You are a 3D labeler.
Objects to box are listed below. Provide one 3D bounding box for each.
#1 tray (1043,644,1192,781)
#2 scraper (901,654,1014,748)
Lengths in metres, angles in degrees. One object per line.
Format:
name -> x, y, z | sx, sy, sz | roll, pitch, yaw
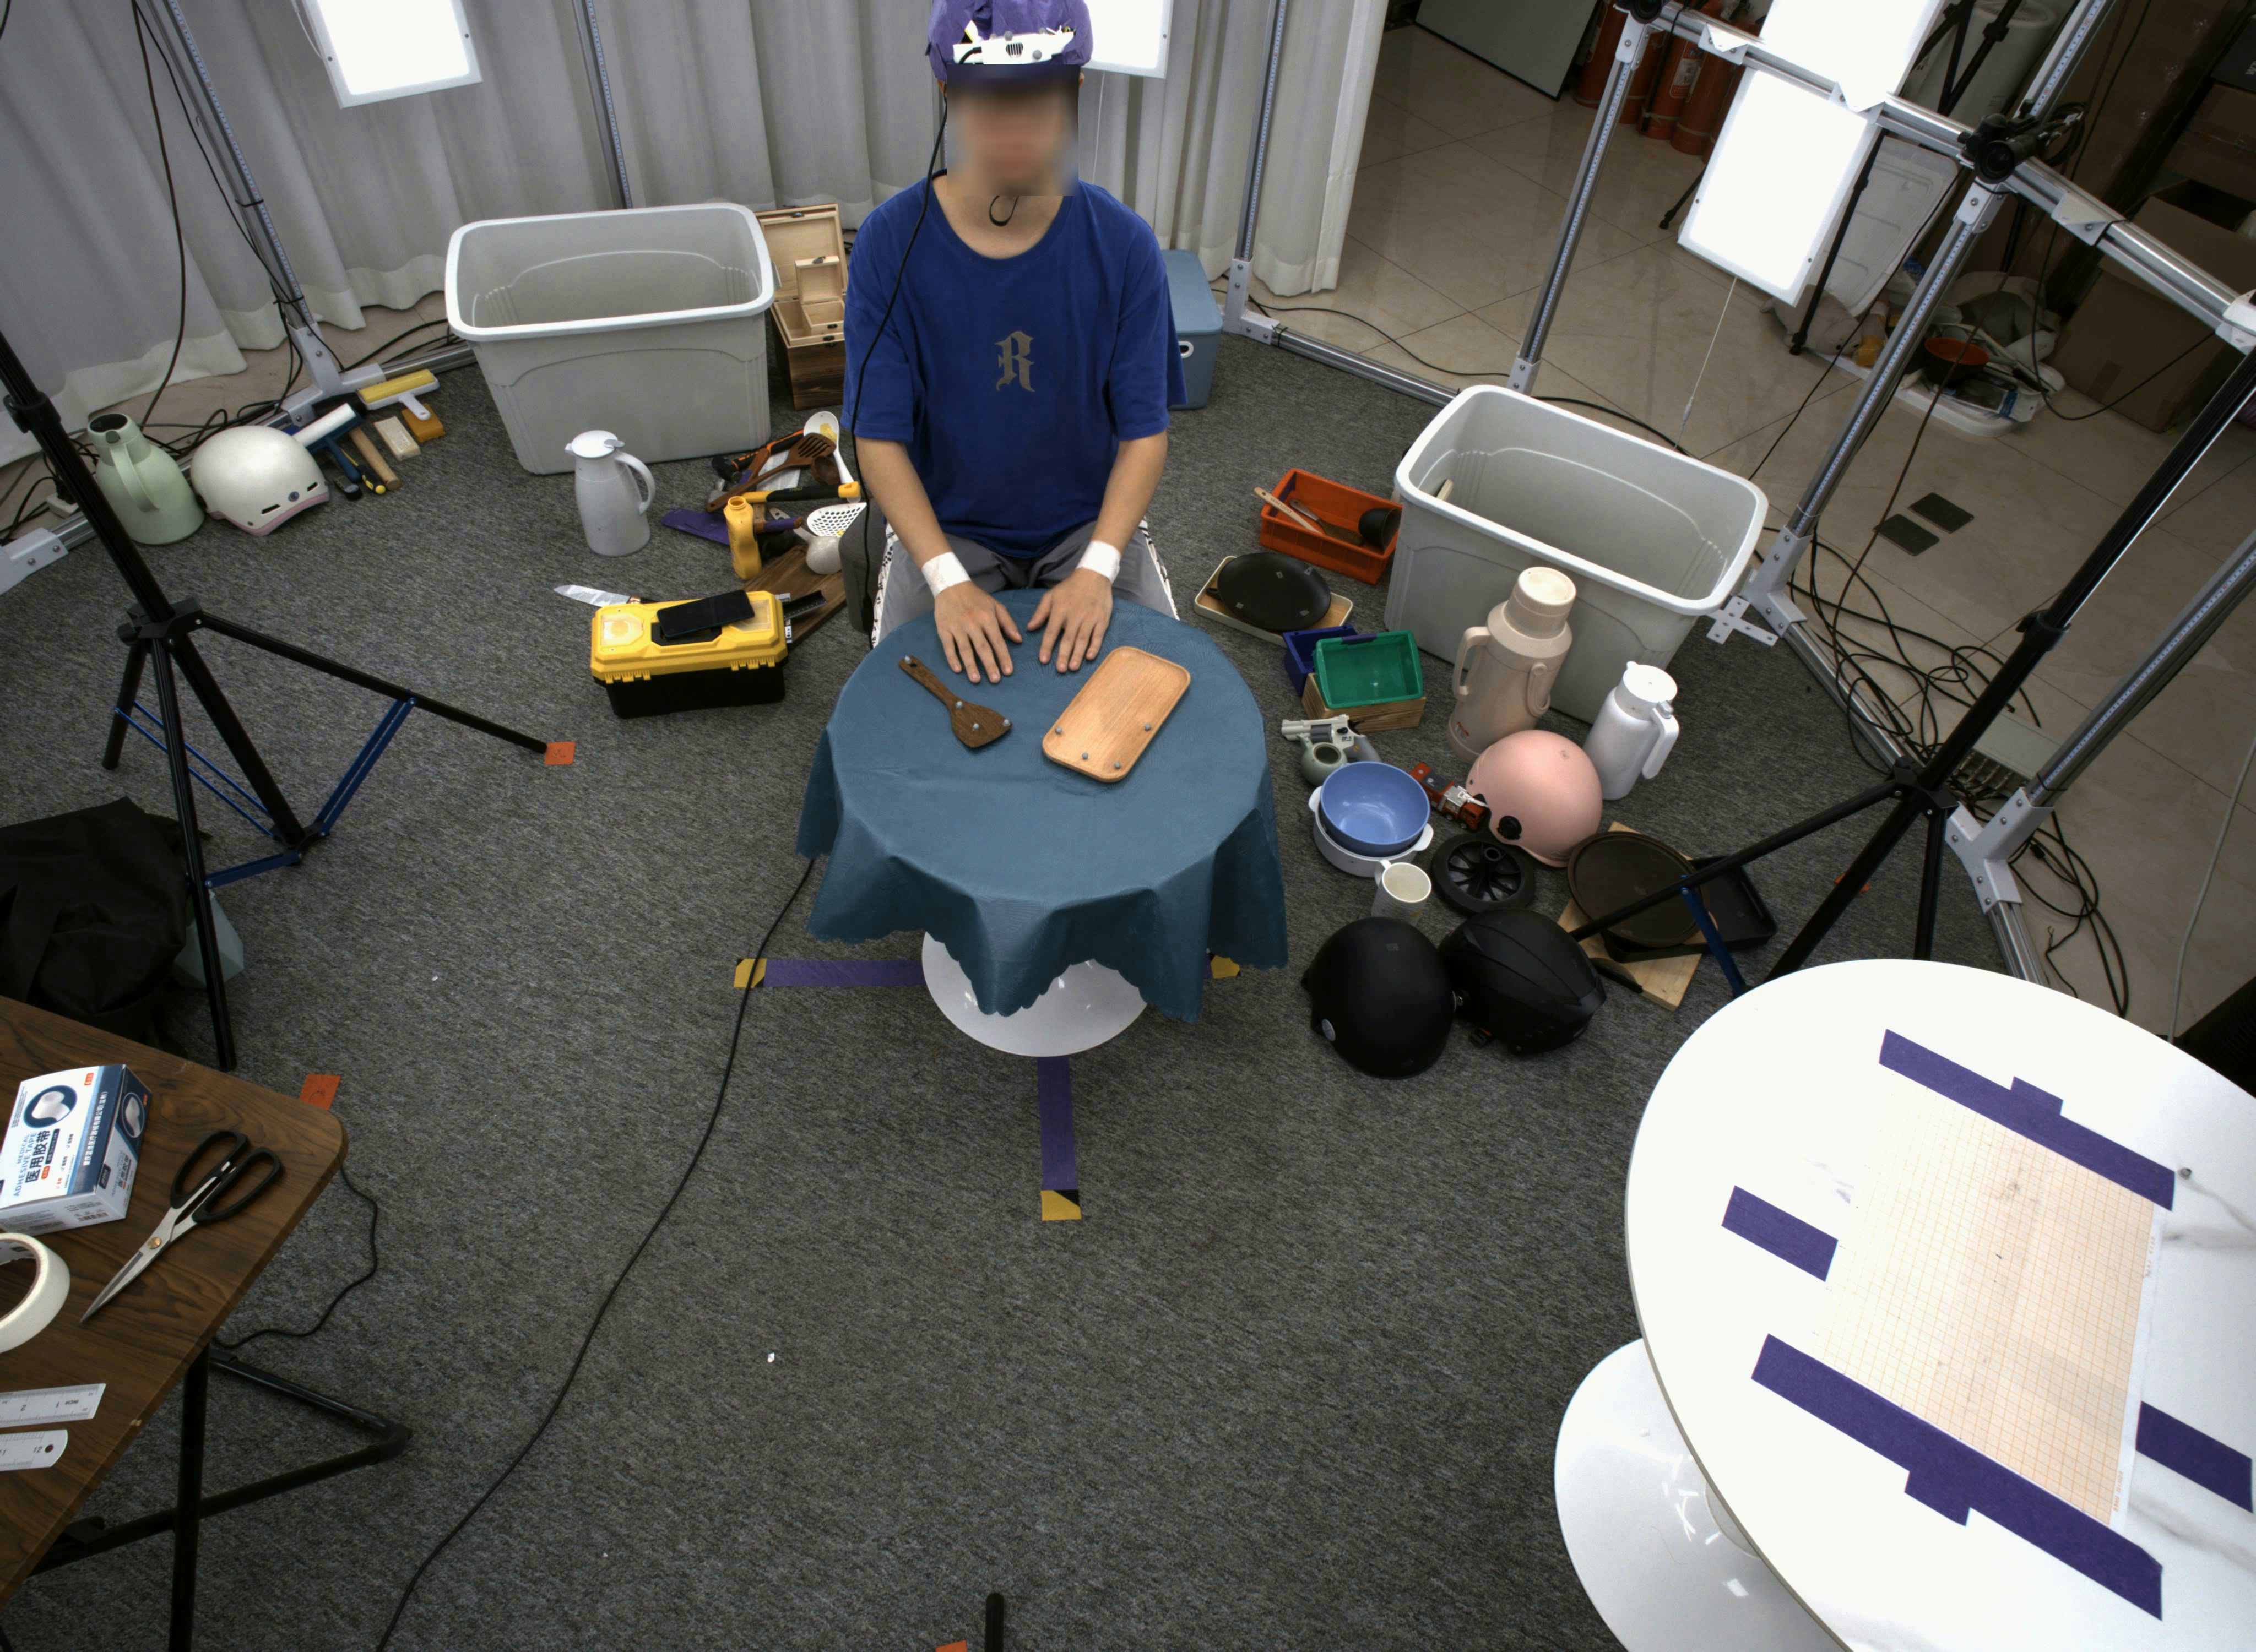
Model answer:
tray -> -0.012, -0.162, 1.800 | 0.131, 0.022, 0.255 | 25, 52, 14
scraper -> -0.249, -0.181, 1.807 | 0.076, 0.010, 0.215 | -32, 58, -27
